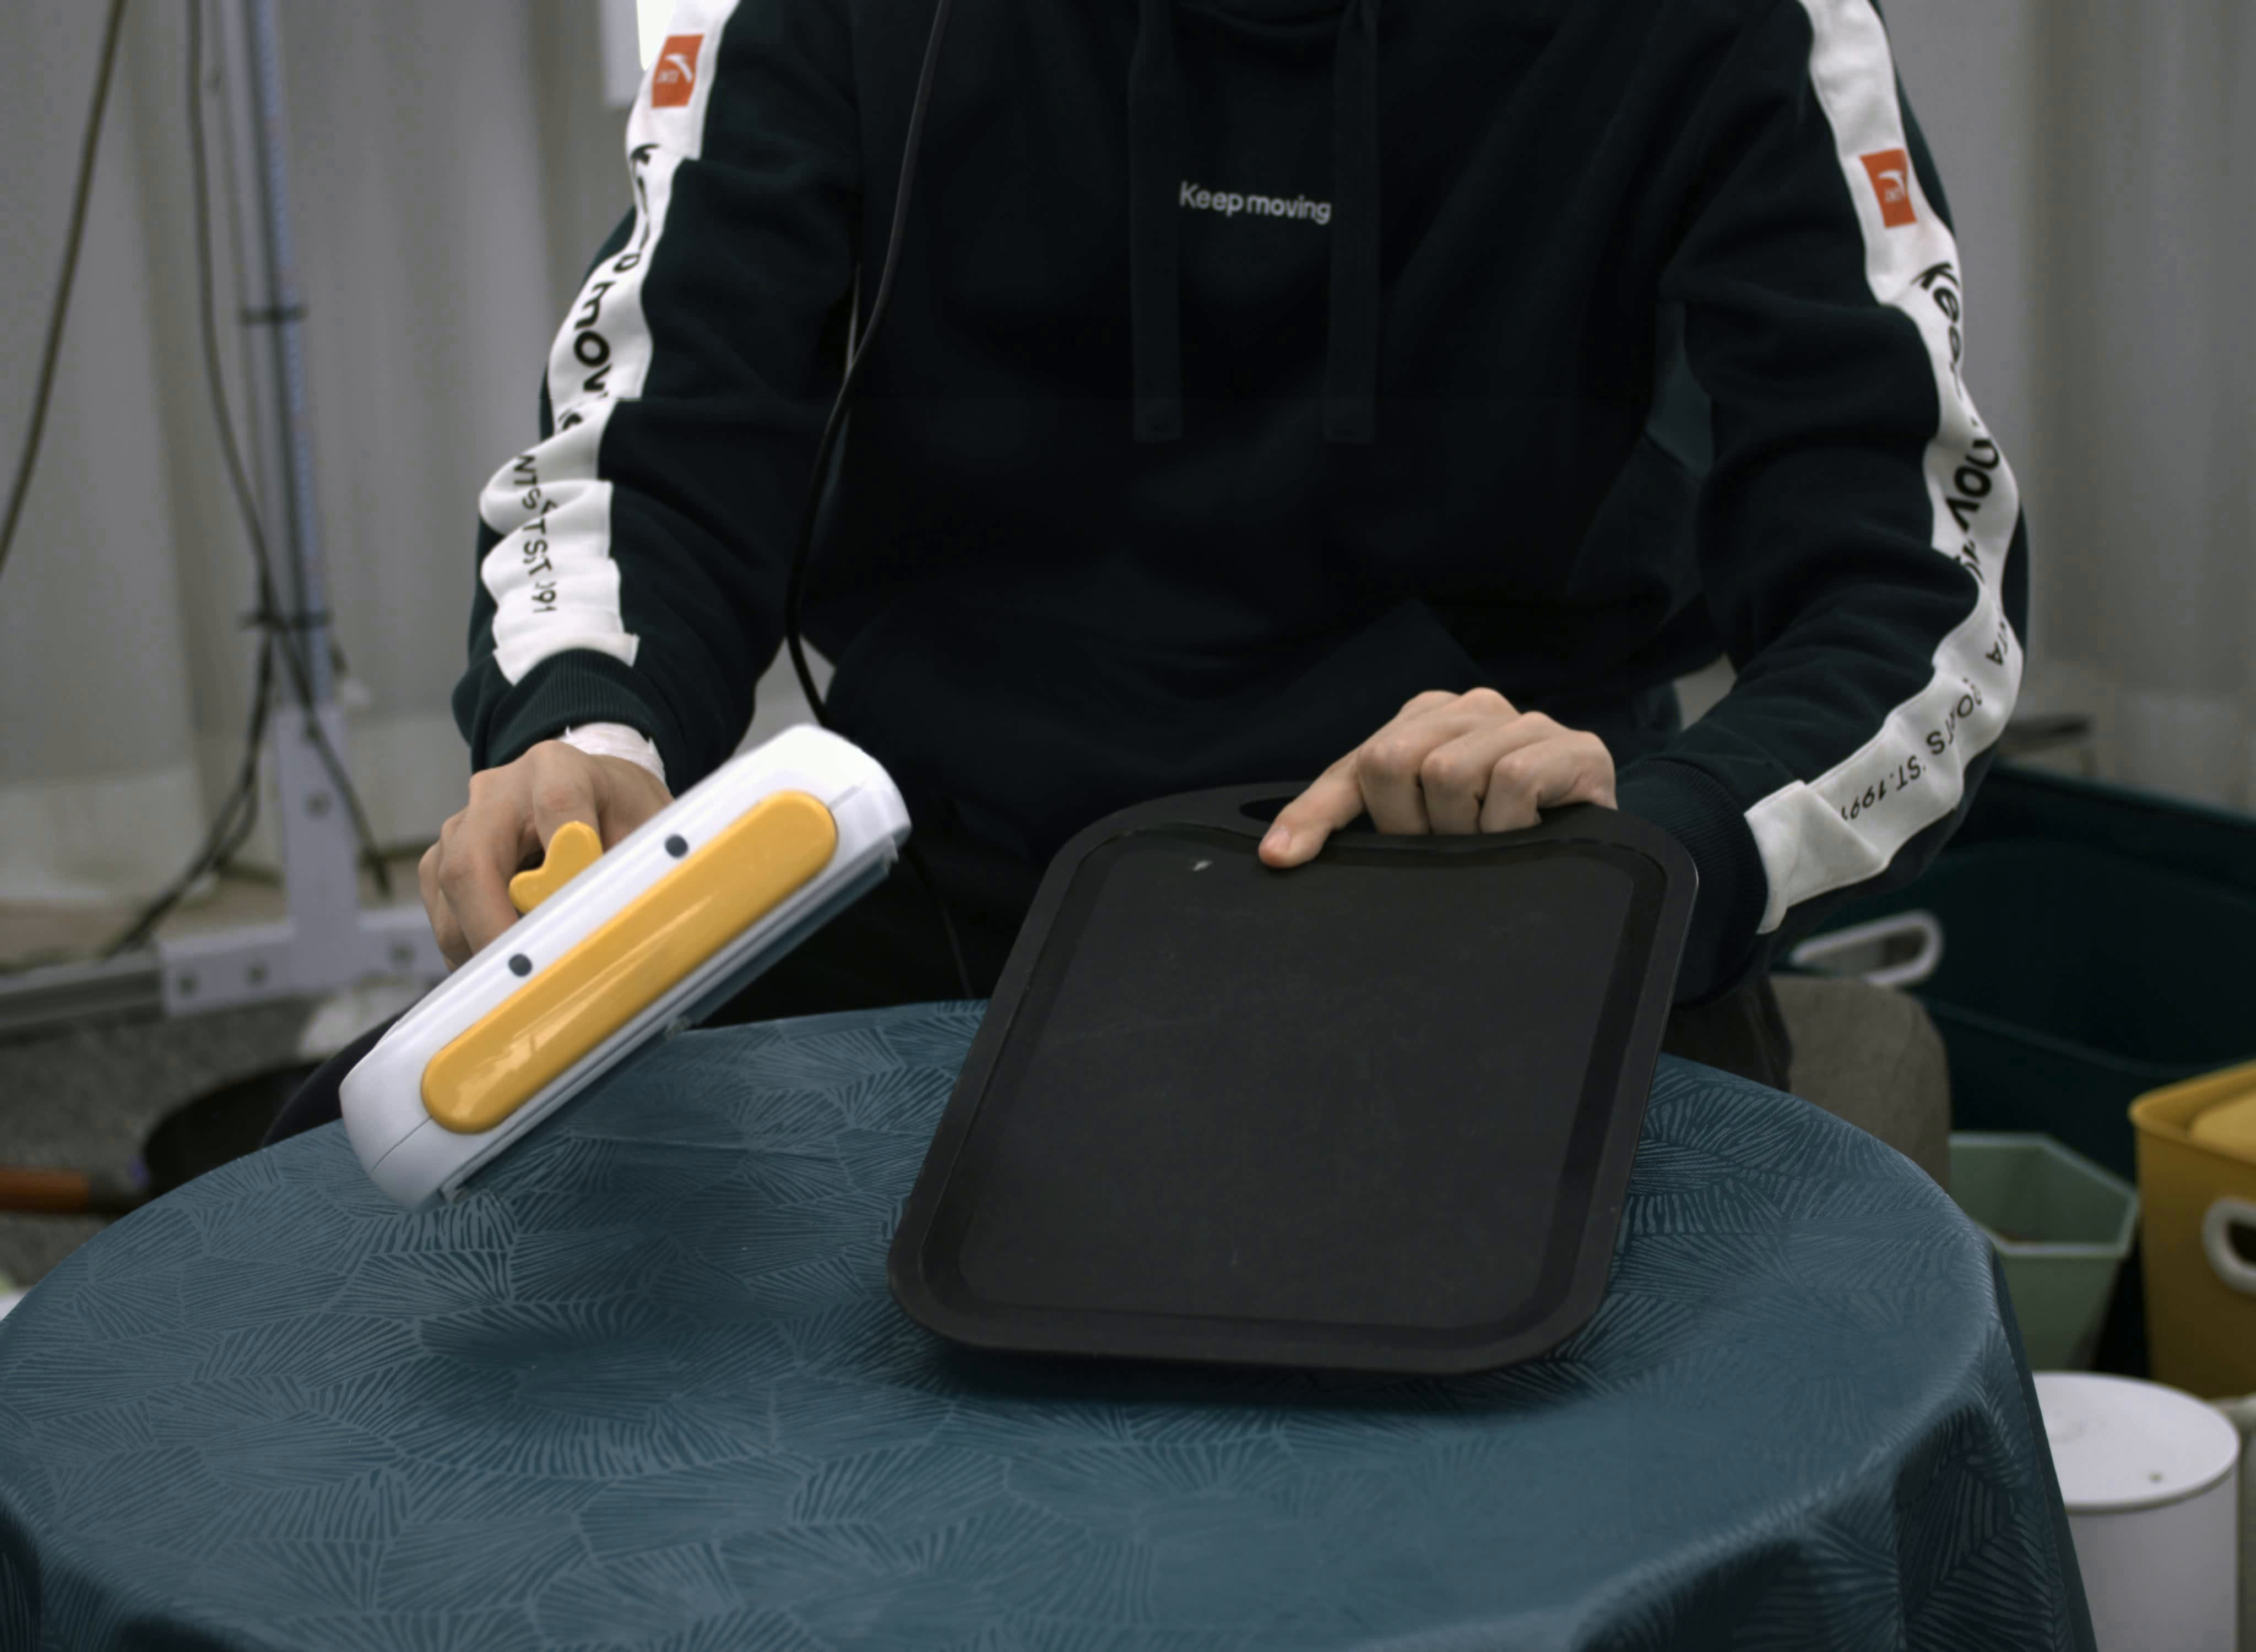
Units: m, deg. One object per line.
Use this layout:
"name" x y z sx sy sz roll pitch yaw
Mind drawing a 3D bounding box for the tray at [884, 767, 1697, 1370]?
"tray" 0.056 0.063 1.658 0.211 0.009 0.329 2 31 13

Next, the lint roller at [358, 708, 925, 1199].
"lint roller" -0.161 0.038 1.674 0.193 0.074 0.192 -42 5 -14
